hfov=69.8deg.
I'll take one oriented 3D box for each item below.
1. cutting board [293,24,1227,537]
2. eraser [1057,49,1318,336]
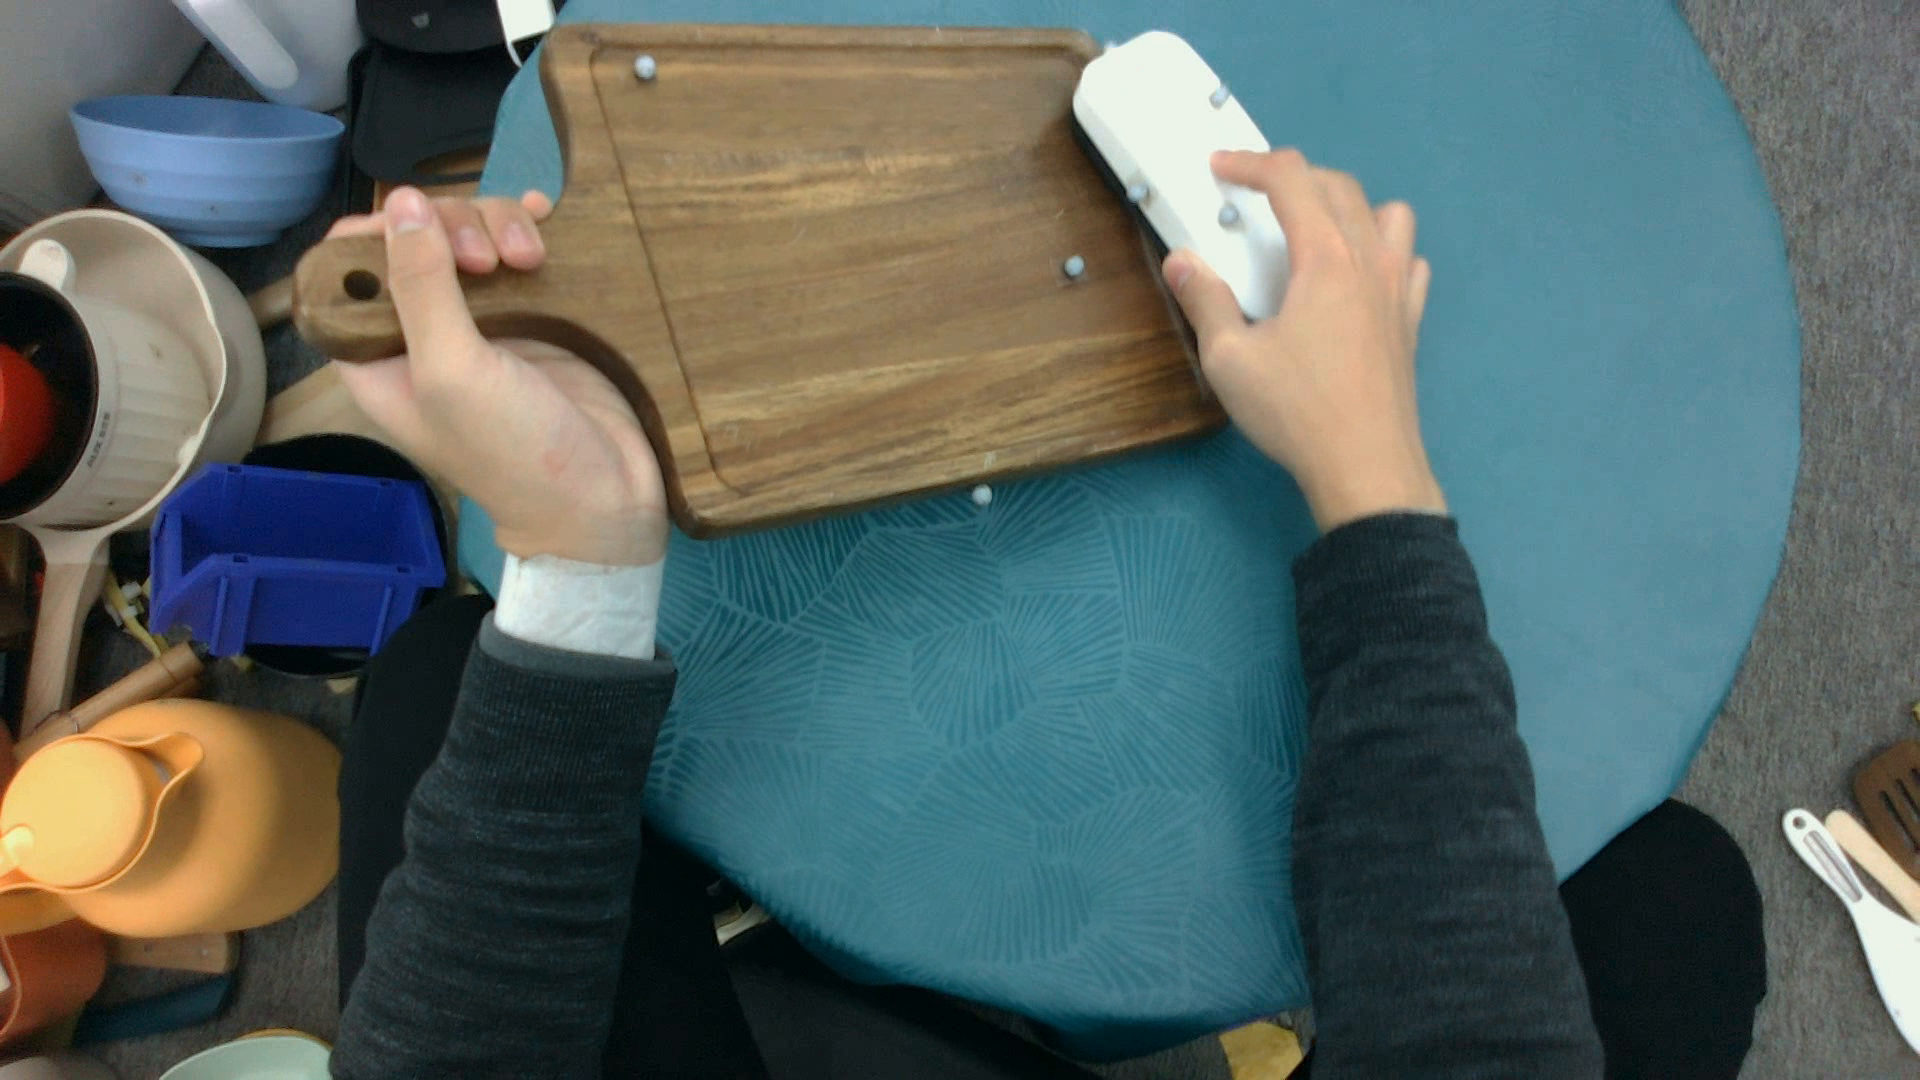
[{"bbox_3d":[-0.063,-0.108,0.526,0.353,0.023,0.201,-13,77,-31],"label":"cutting board"},{"bbox_3d":[0.098,-0.152,0.599,0.063,0.034,0.131,-33,85,-28],"label":"eraser"}]
